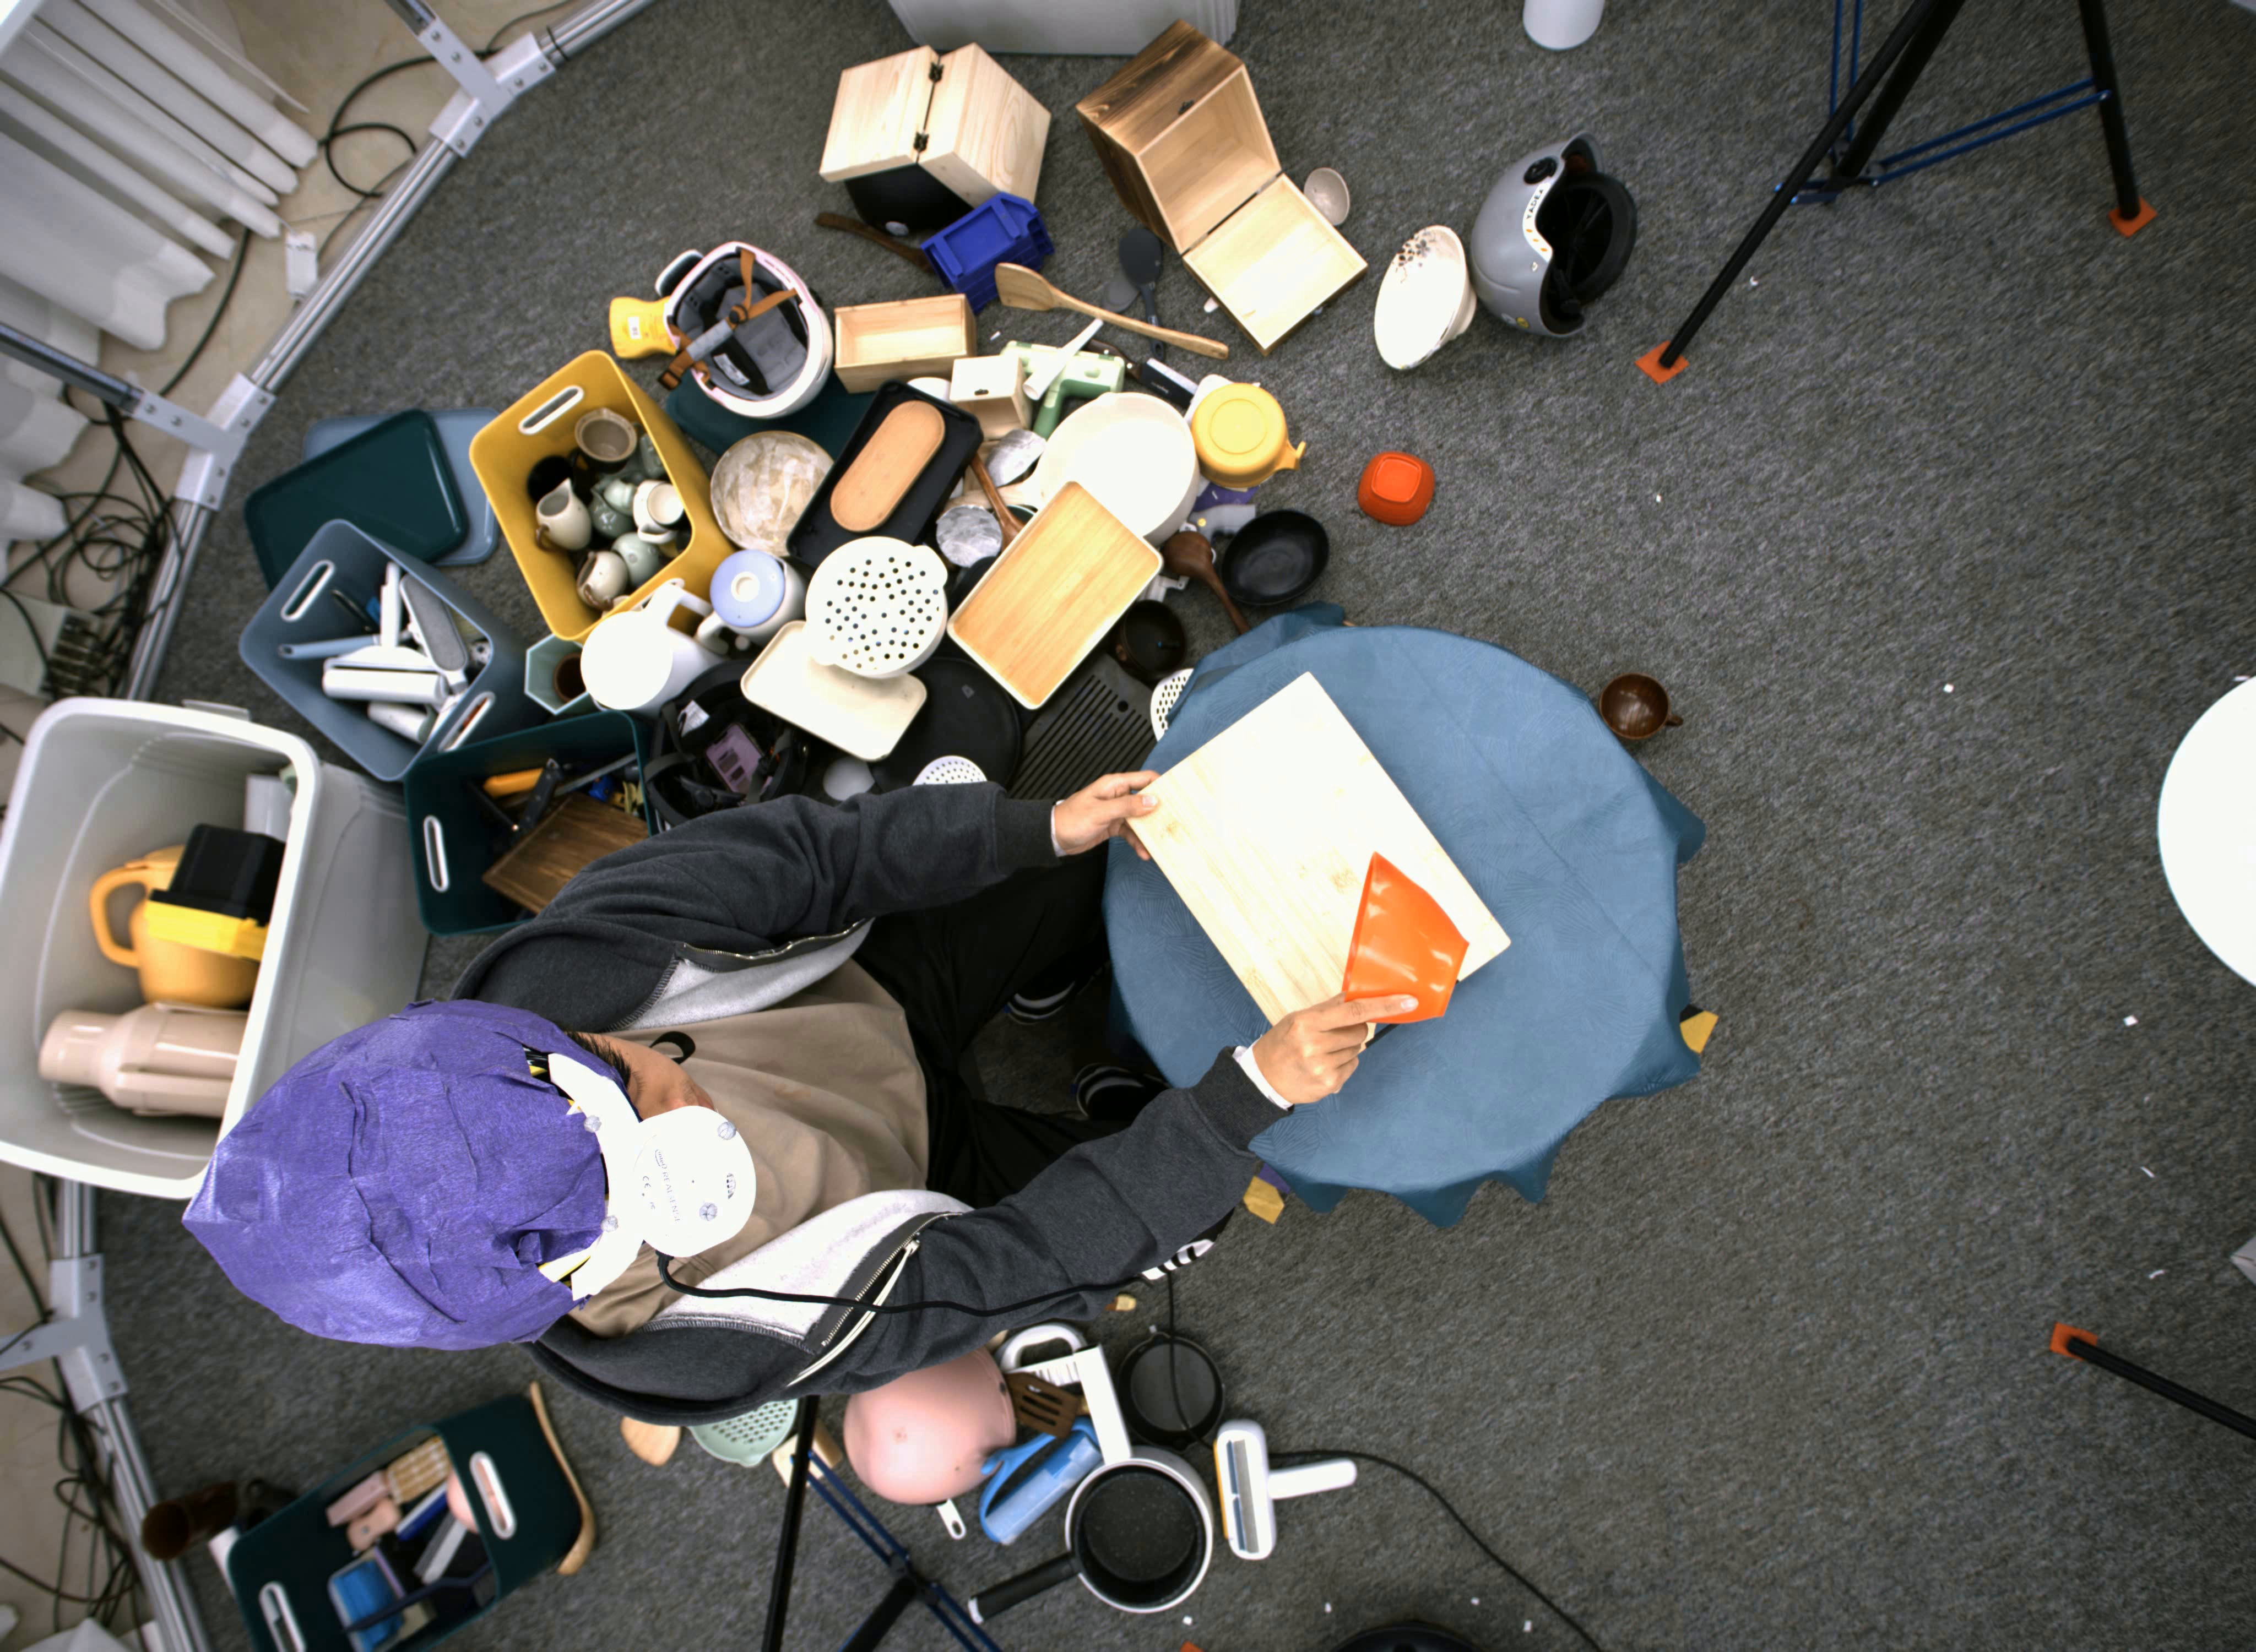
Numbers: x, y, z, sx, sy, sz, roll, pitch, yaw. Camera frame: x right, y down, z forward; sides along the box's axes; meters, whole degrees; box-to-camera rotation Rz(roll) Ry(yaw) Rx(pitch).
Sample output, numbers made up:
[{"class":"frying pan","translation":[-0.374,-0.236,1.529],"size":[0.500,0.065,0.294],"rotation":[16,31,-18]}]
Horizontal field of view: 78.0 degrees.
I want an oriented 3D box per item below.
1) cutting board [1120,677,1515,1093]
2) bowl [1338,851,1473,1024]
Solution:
[{"class":"cutting board","translation":[0.187,0.054,1.388],"size":[0.251,0.023,0.347],"rotation":[-37,84,4]},{"class":"bowl","translation":[0.238,0.106,1.185],"size":[0.104,0.148,0.148],"rotation":[21,89,13]}]
